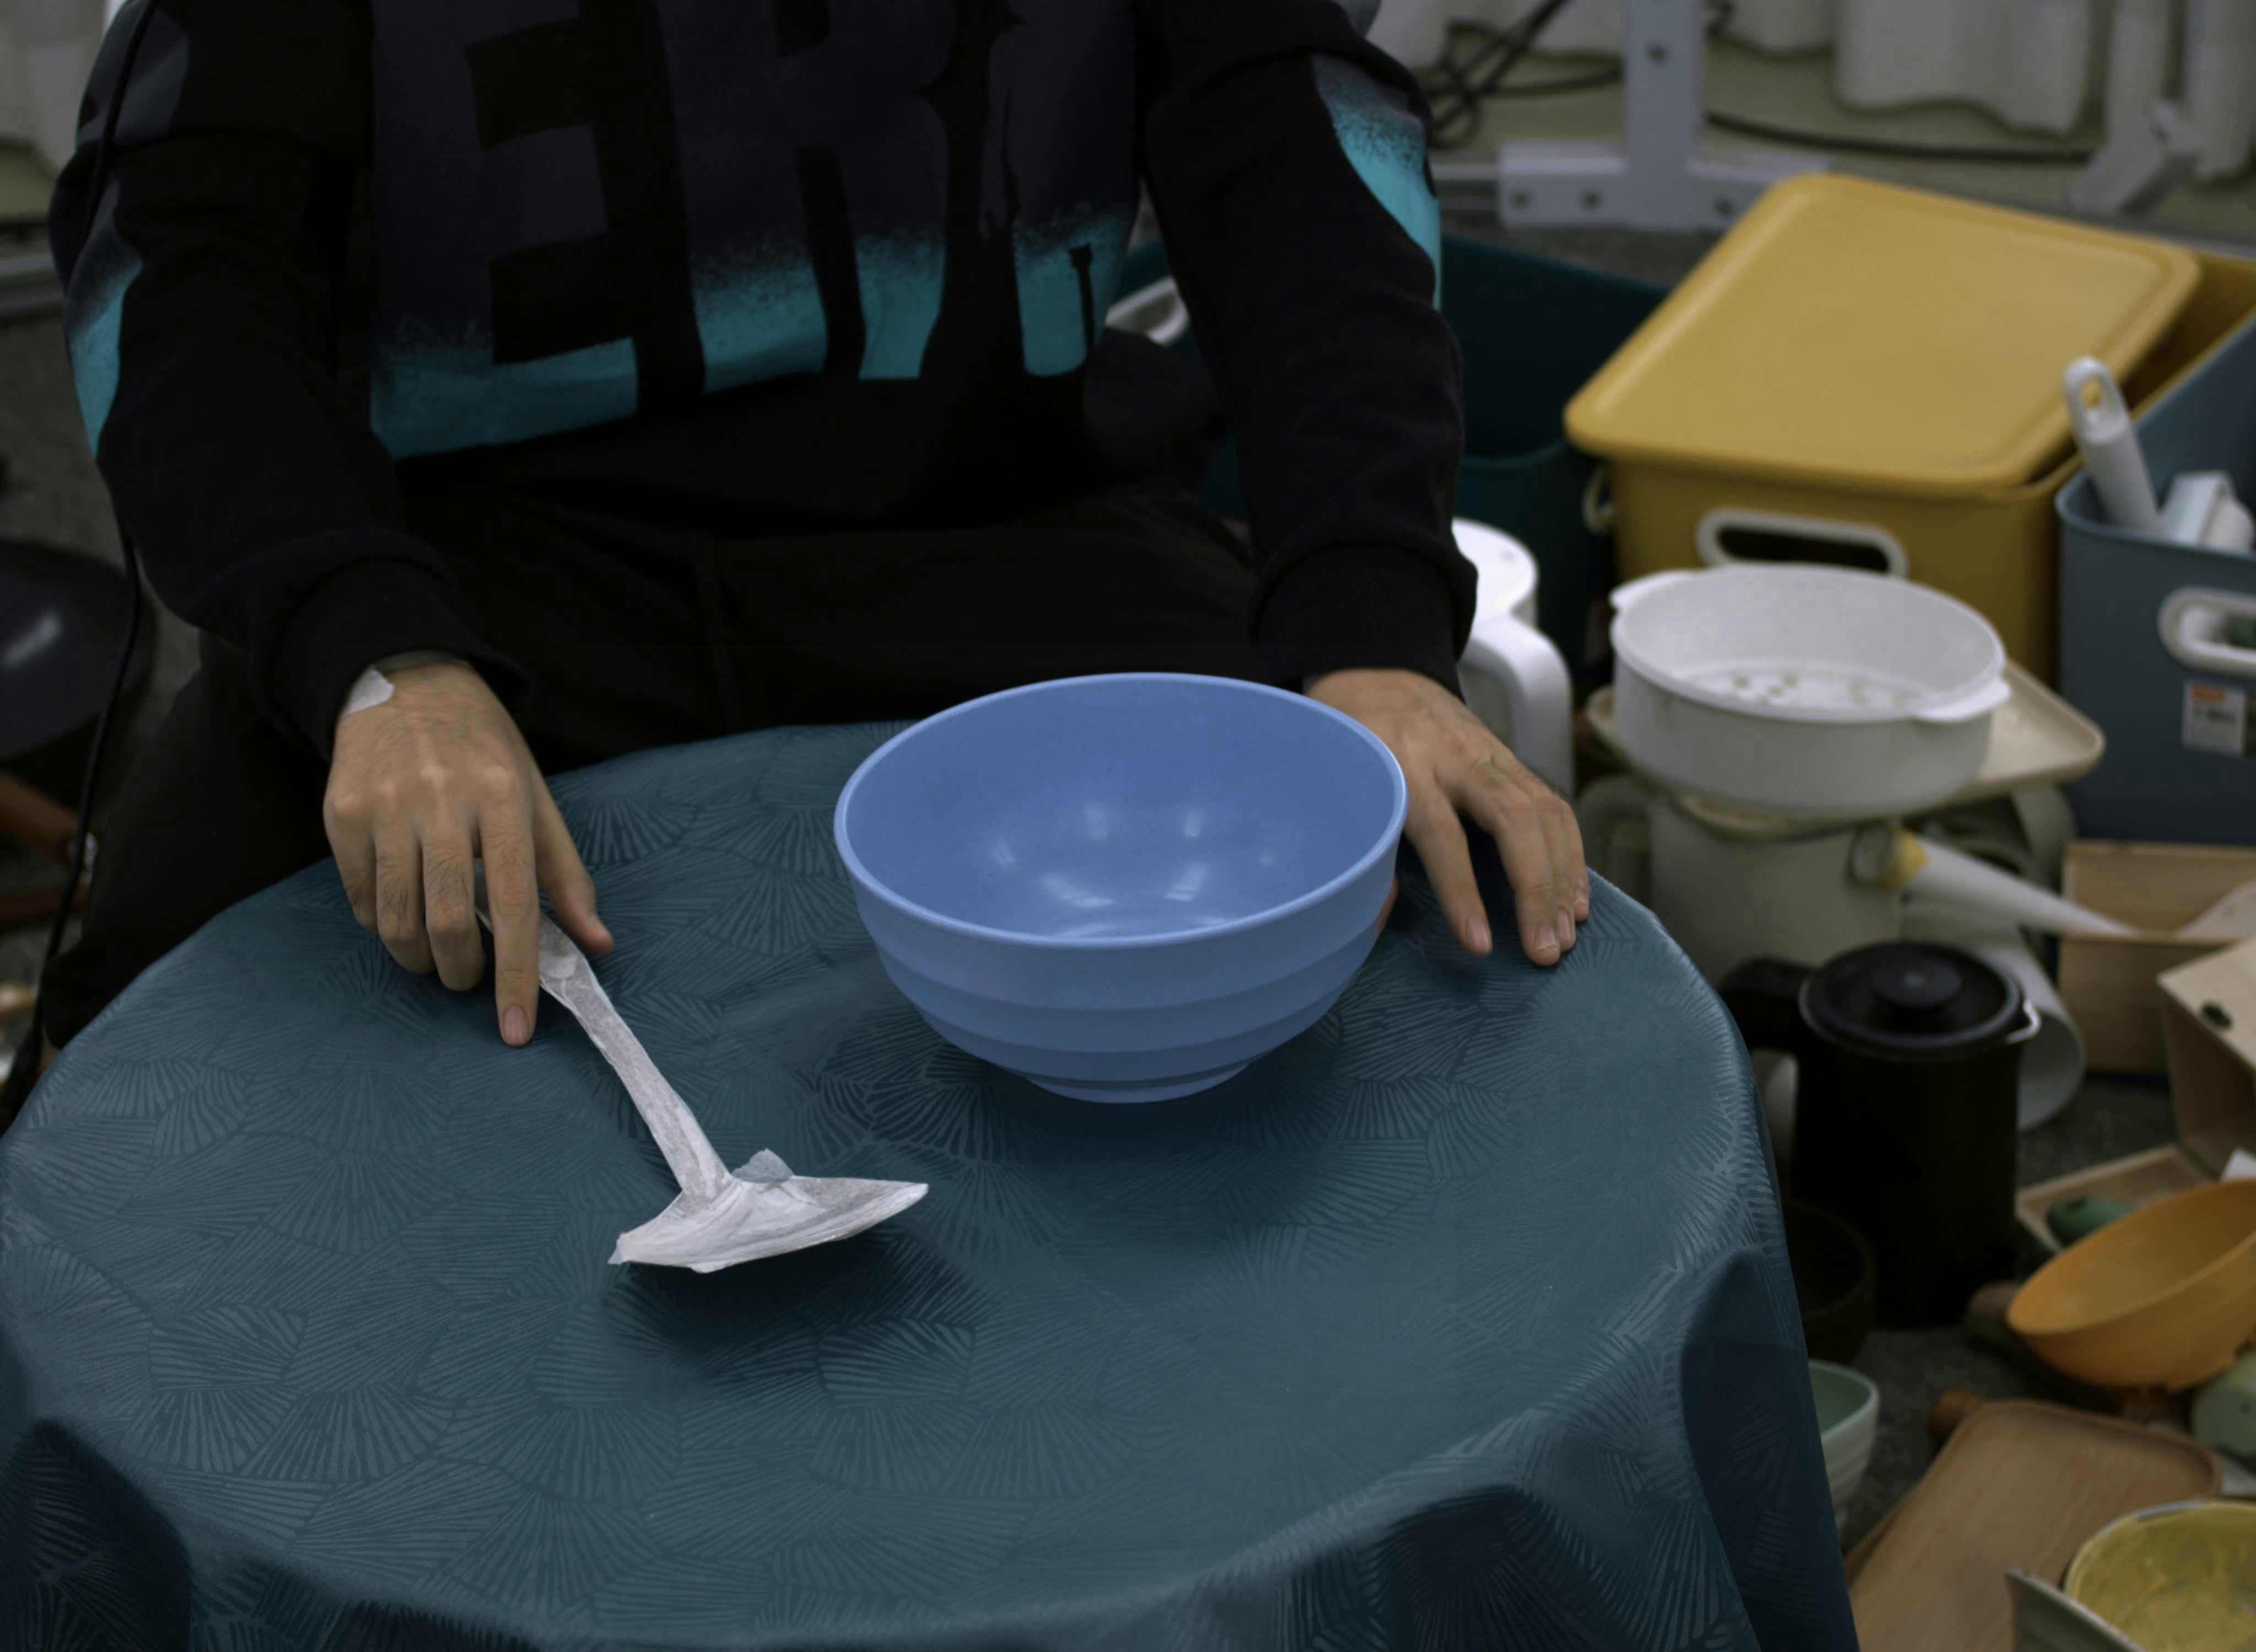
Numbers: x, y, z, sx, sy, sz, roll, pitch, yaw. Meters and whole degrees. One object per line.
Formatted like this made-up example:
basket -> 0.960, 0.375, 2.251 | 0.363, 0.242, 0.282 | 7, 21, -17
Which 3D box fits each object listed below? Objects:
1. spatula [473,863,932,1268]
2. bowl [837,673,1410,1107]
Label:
spatula -> -0.170, 0.074, 1.928 | 0.099, 0.044, 0.367 | -15, 30, -19
bowl -> 0.001, 0.033, 1.932 | 0.195, 0.094, 0.199 | -3, 28, 2
